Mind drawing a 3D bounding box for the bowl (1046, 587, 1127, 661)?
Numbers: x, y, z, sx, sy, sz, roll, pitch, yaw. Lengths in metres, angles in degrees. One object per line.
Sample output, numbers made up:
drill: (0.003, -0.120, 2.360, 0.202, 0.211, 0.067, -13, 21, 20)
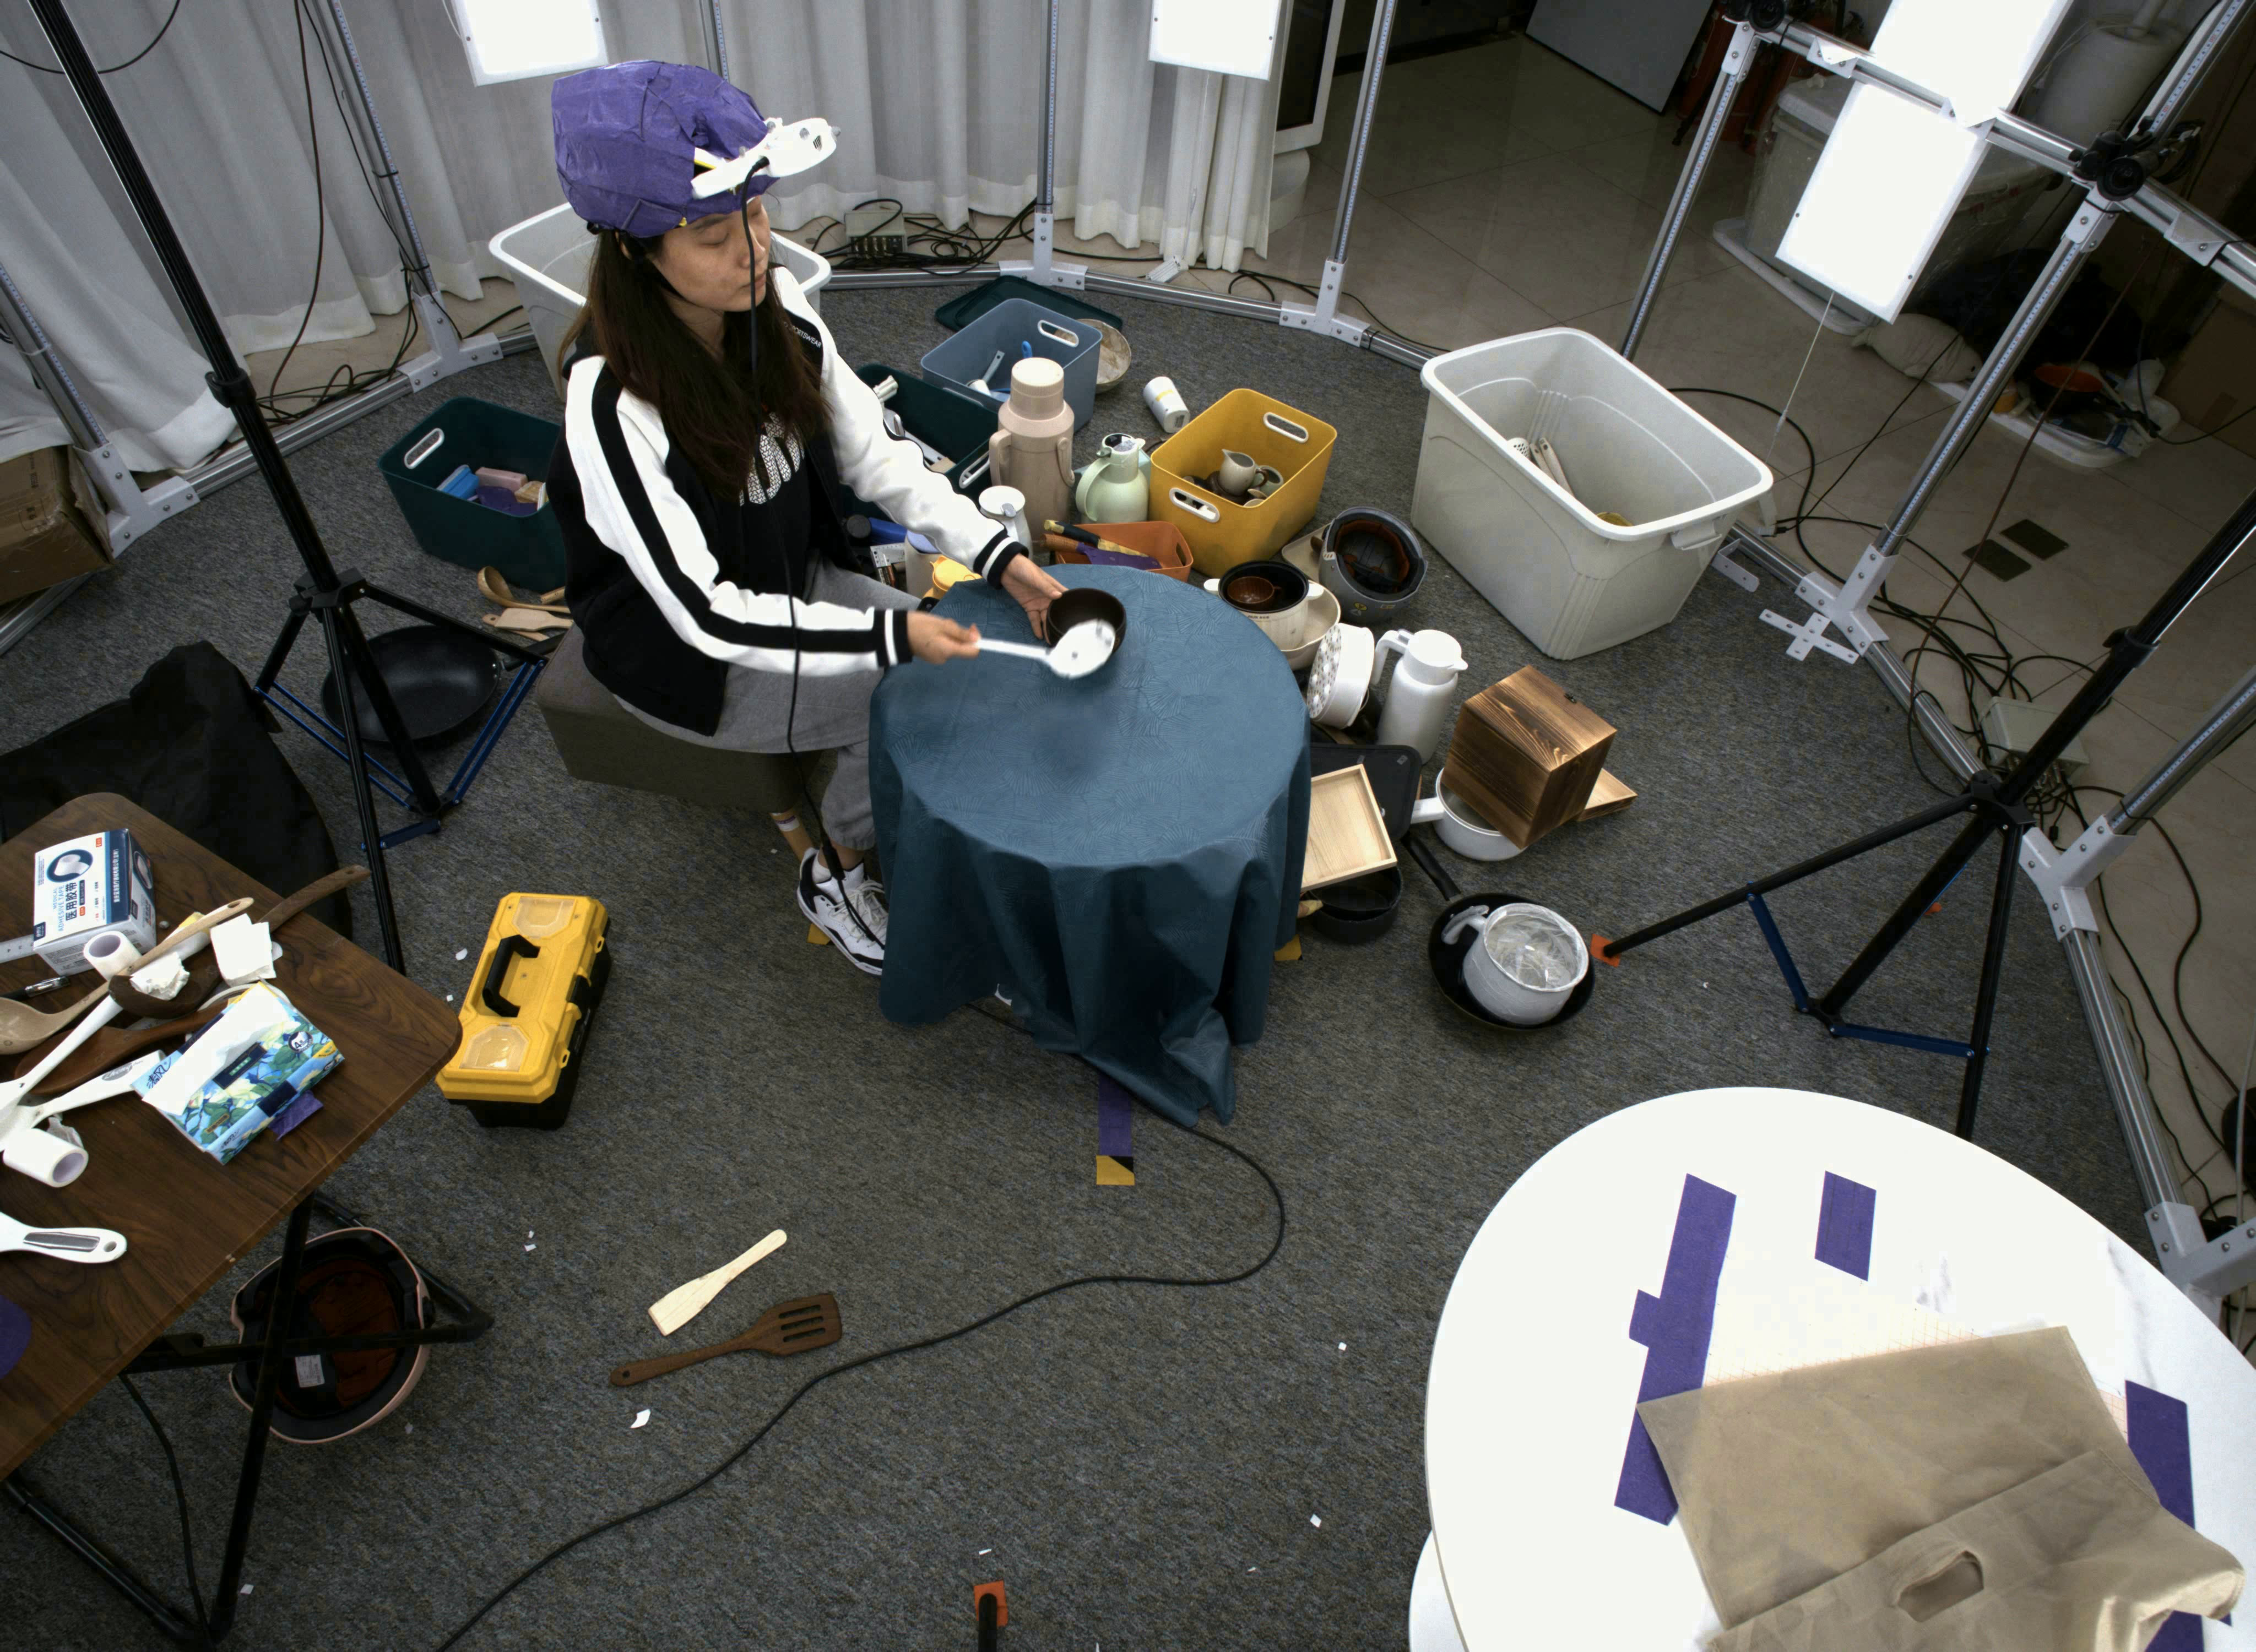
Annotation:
bowl: (-0.061, -0.283, 1.864, 0.118, 0.068, 0.121, 2, 49, -2)

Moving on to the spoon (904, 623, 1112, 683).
spoon: (-0.160, -0.252, 1.712, 0.277, 0.058, 0.103, 14, 53, -1)
